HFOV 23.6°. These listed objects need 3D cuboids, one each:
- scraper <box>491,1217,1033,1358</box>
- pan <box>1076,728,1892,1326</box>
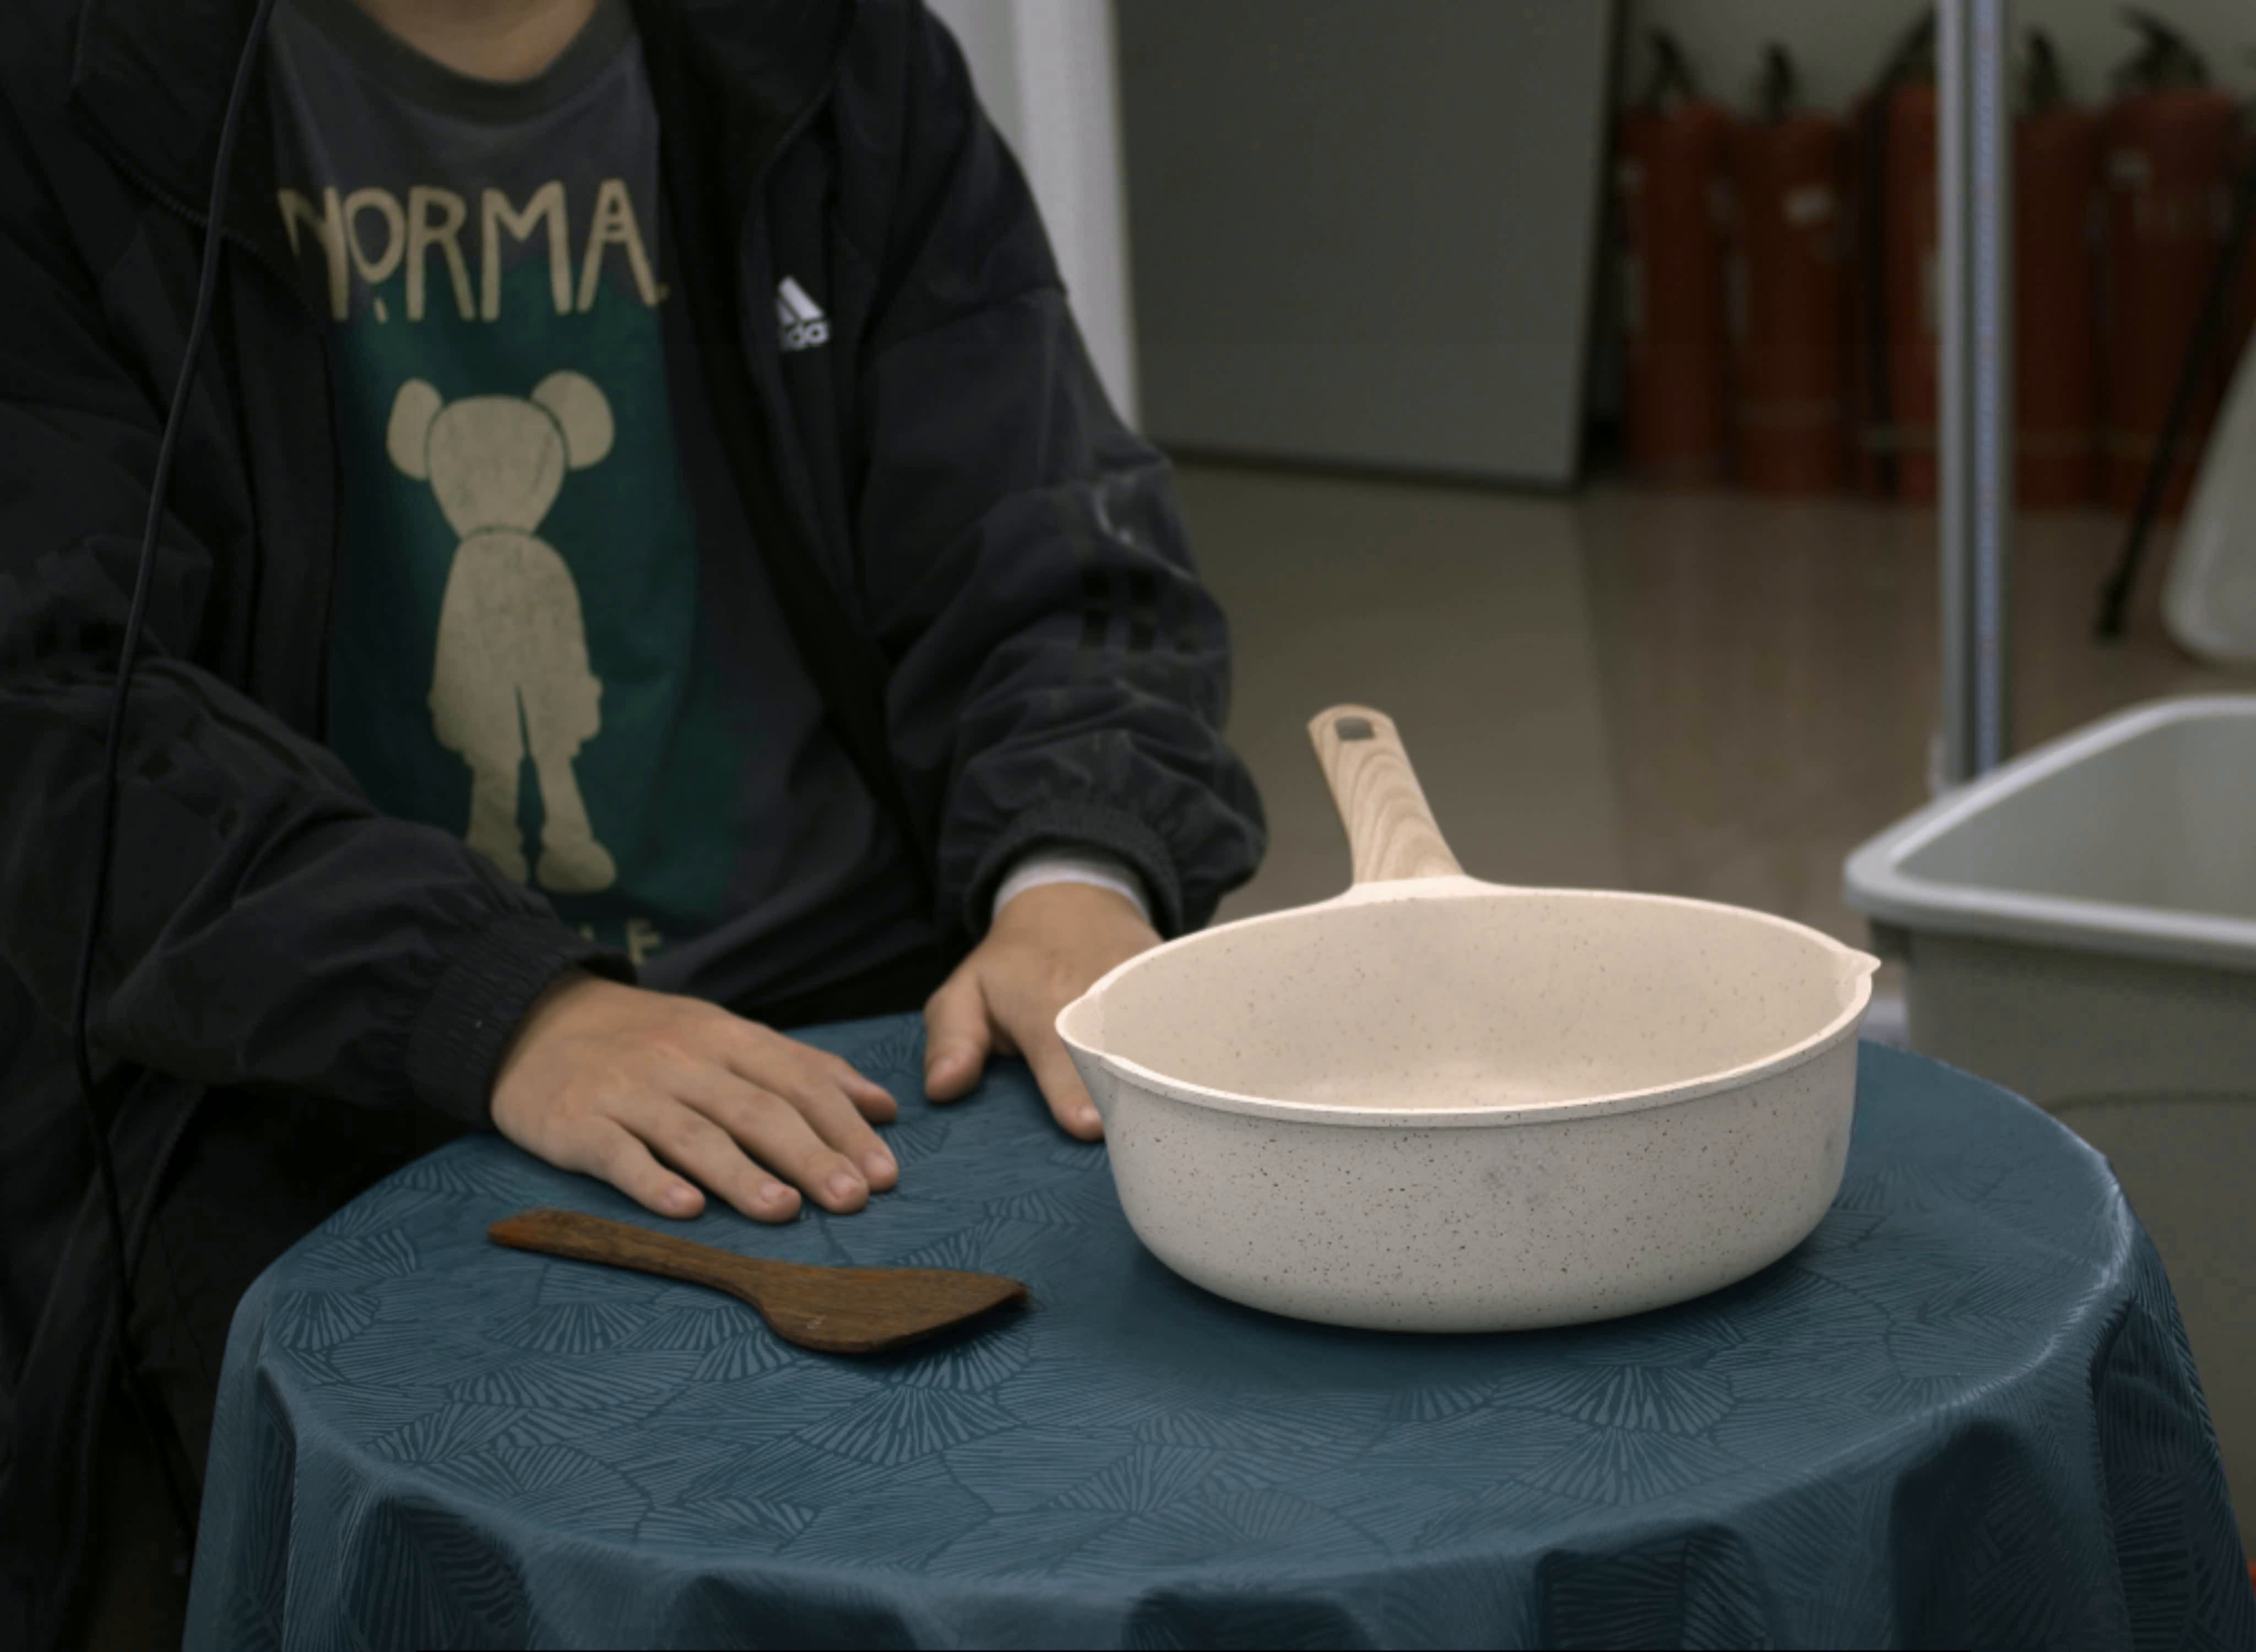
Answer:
[{"bbox_3d":[-0.124,0.143,1.707,0.213,0.011,0.074,7,17,42],"label":"scraper"},{"bbox_3d":[0.106,0.061,1.782,0.259,0.103,0.436,-7,13,-4],"label":"pan"}]
